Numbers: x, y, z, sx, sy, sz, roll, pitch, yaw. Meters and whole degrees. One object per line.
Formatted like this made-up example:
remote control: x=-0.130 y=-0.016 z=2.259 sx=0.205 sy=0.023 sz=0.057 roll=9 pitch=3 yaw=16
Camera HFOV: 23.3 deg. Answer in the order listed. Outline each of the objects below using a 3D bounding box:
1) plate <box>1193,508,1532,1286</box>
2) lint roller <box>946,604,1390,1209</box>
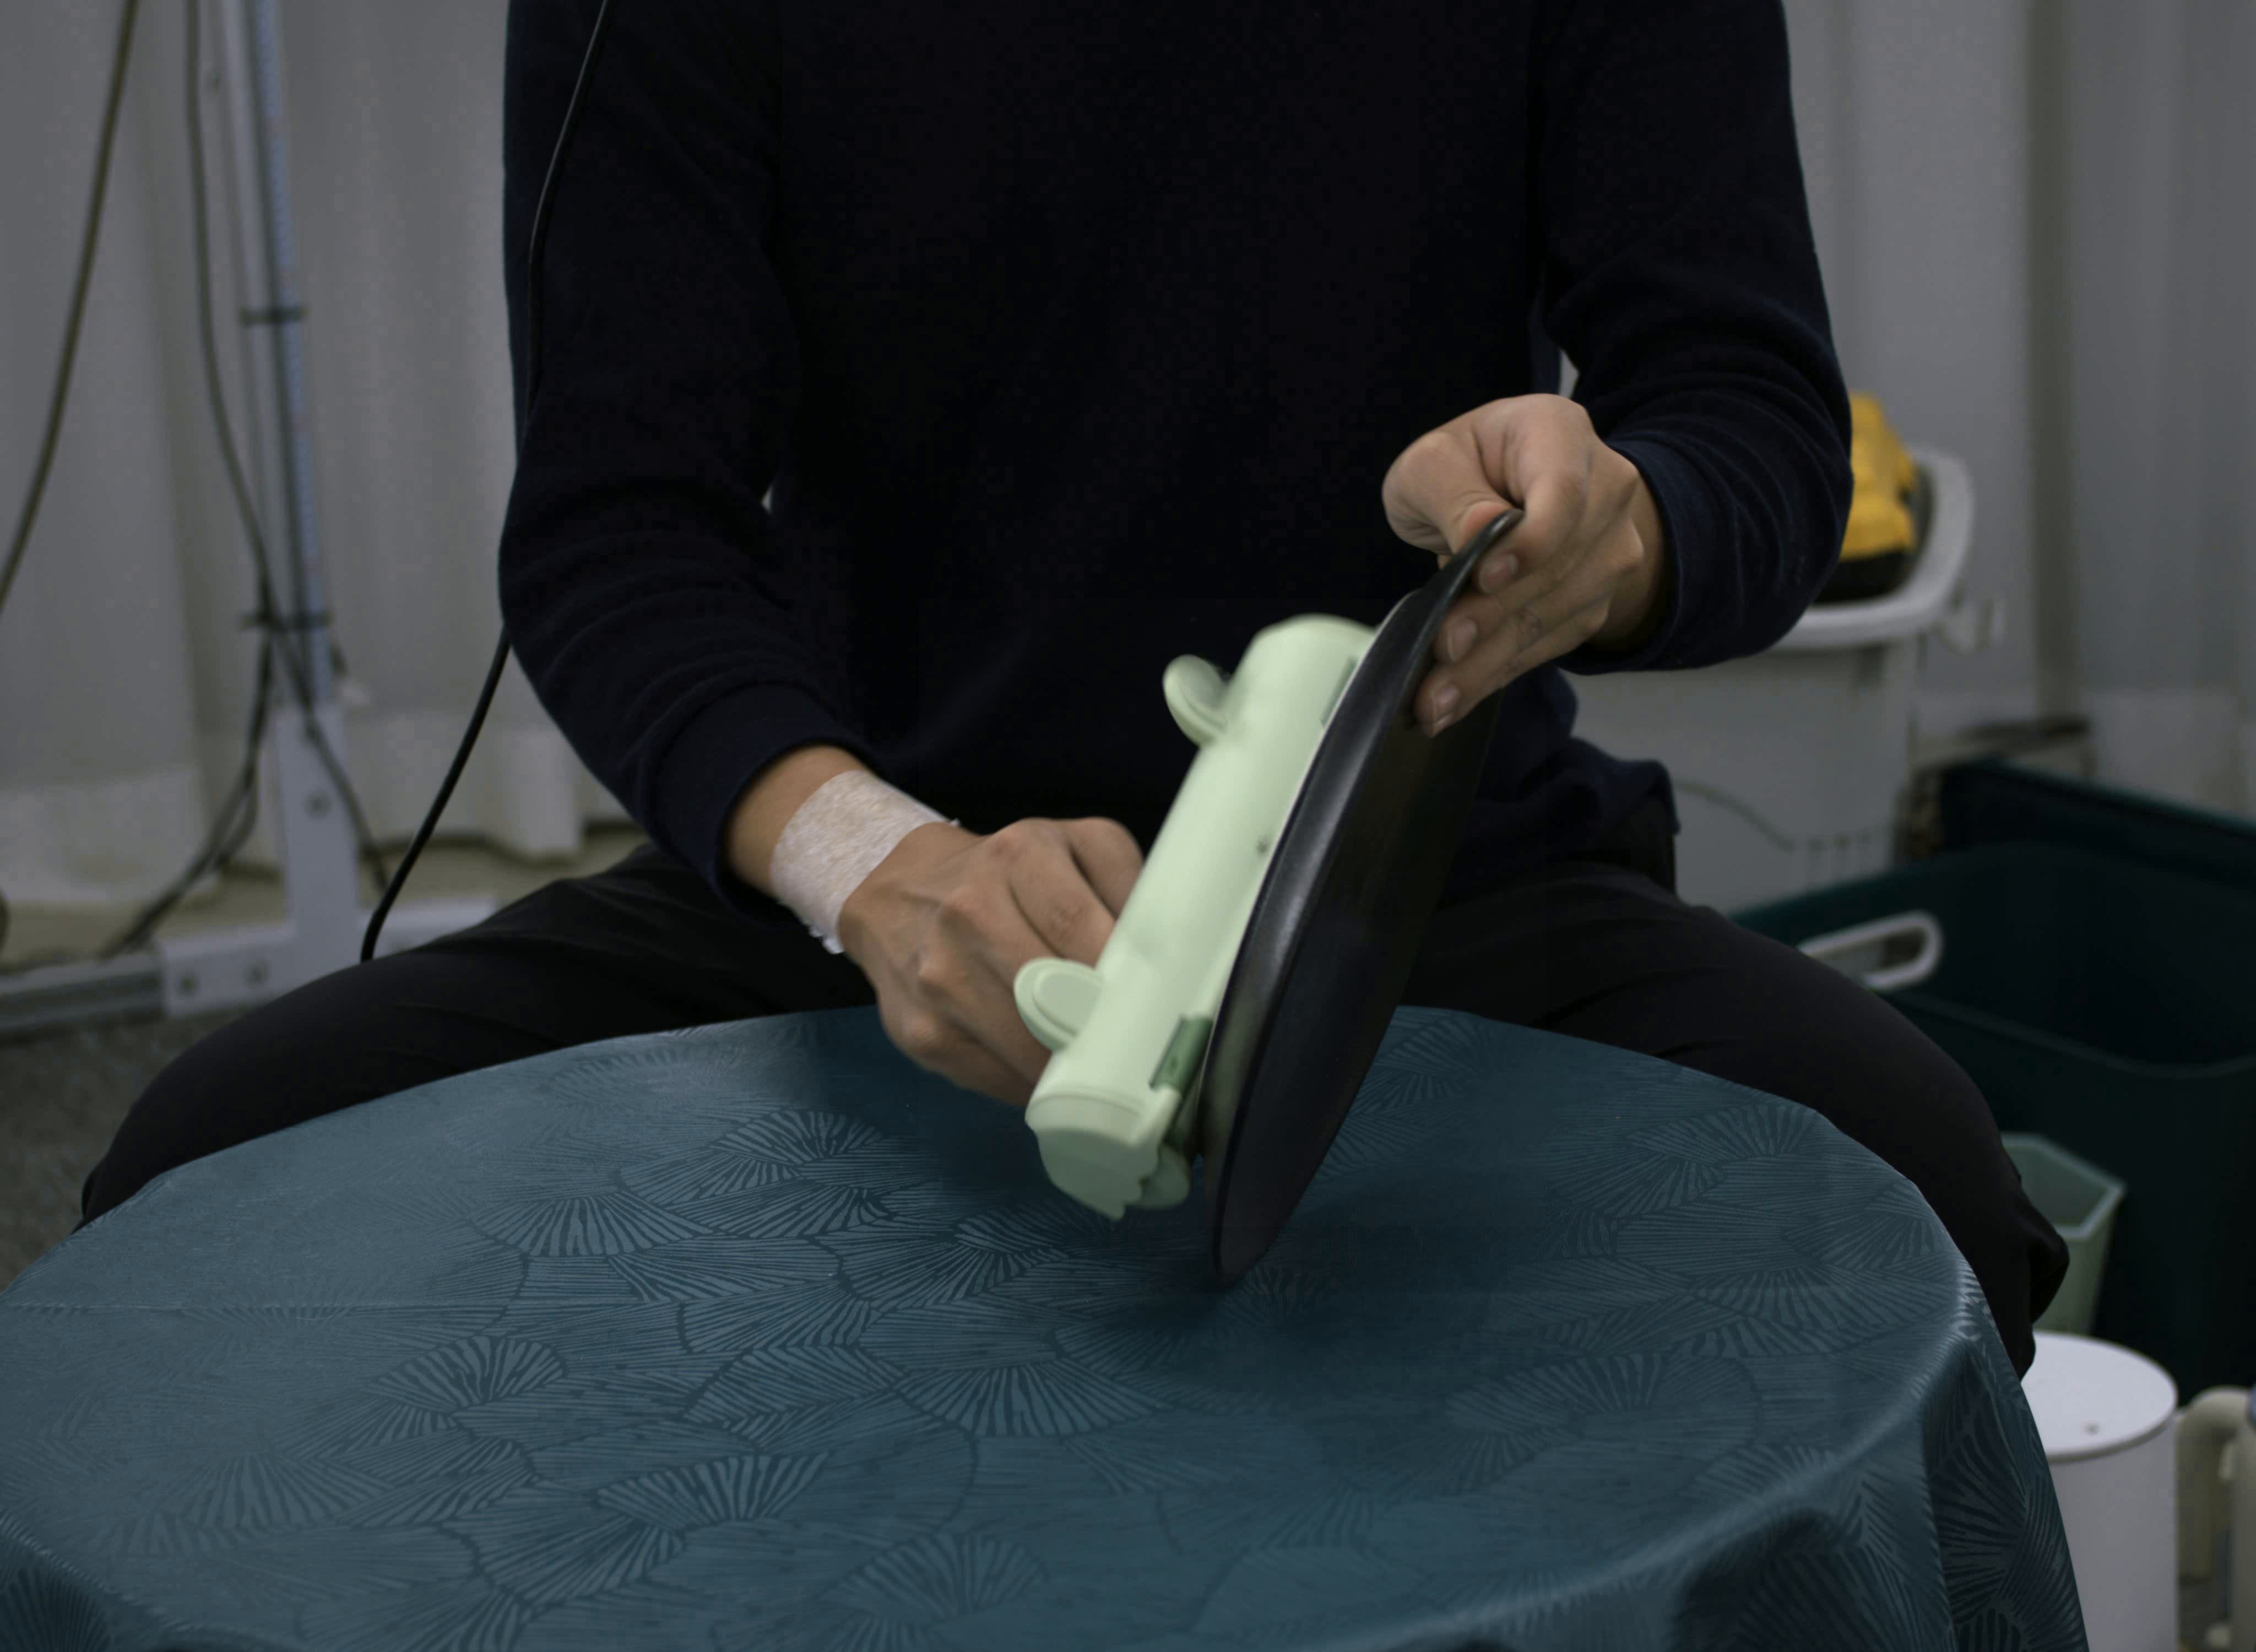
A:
plate: x=0.064 y=0.018 z=1.610 sx=0.023 sy=0.243 sz=0.245 roll=21 pitch=20 yaw=10
lint roller: x=-0.014 y=0.026 z=1.671 sx=0.183 sy=0.081 sz=0.201 roll=-14 pitch=41 yaw=47
